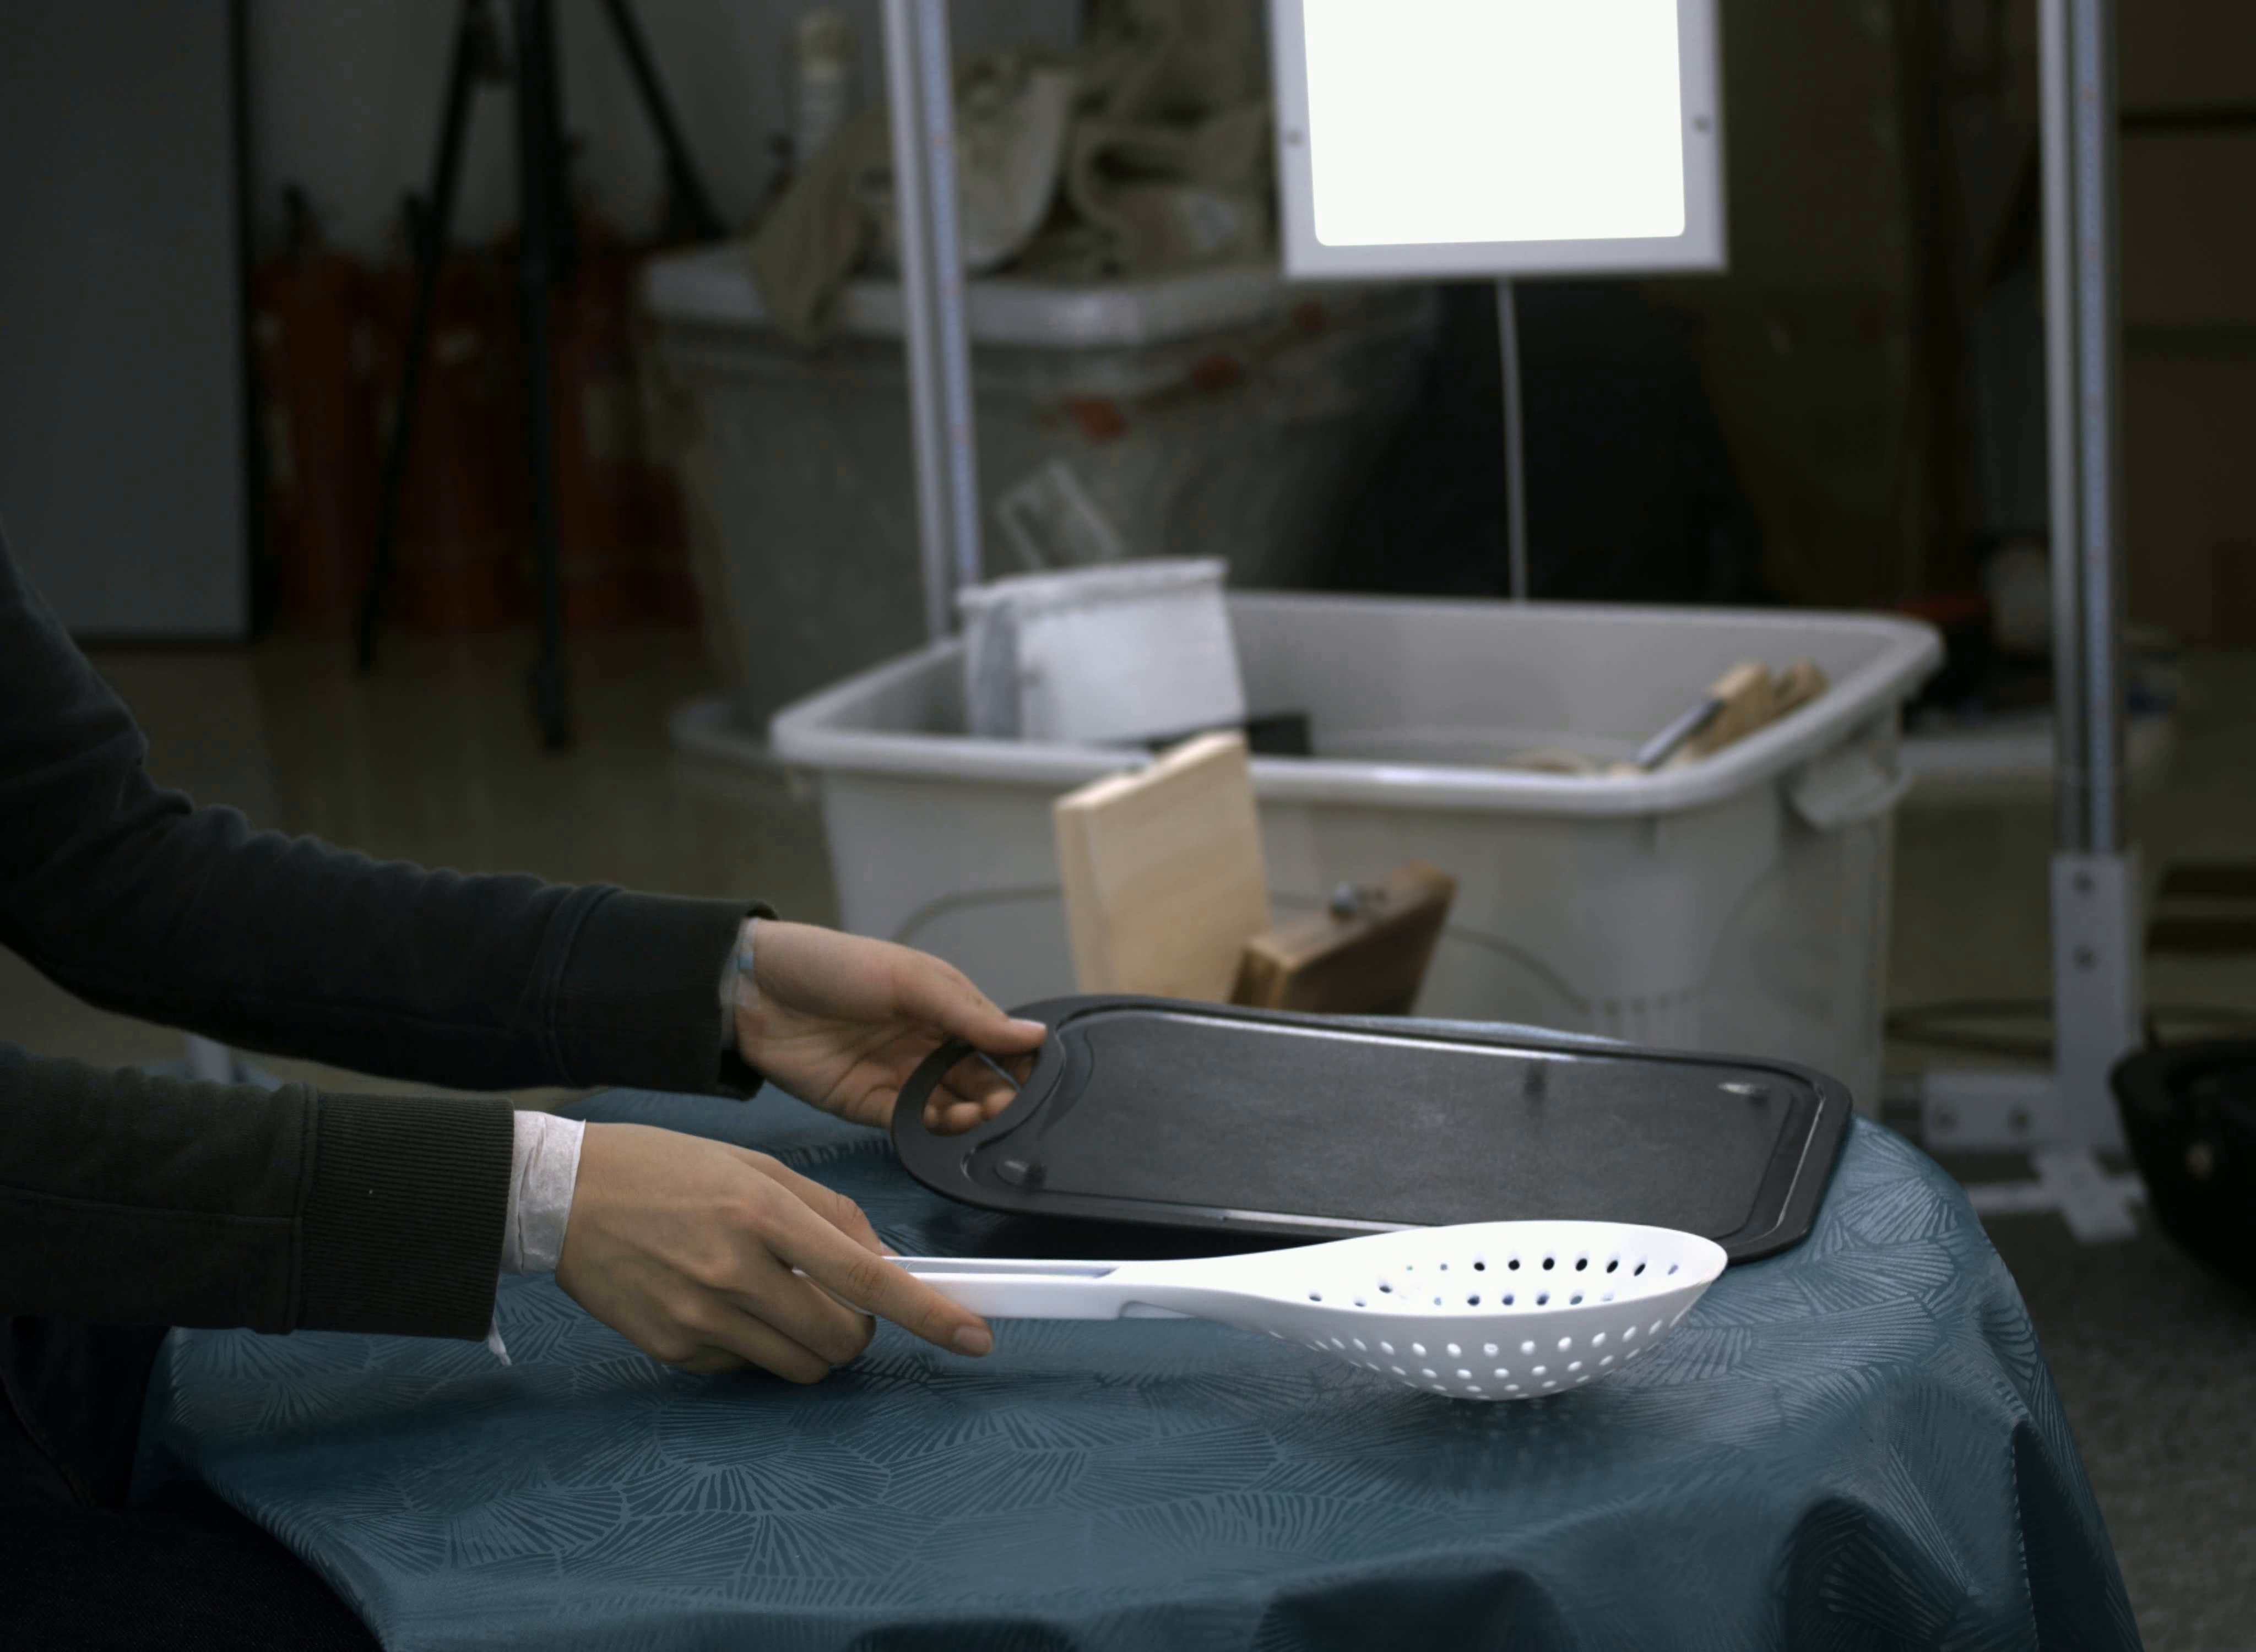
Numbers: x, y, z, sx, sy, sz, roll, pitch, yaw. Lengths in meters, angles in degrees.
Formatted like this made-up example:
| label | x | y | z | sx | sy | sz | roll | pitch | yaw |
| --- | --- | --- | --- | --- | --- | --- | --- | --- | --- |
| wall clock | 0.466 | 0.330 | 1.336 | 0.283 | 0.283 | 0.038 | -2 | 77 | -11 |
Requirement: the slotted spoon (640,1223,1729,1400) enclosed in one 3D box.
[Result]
| label | x | y | z | sx | sy | sz | roll | pitch | yaw |
| --- | --- | --- | --- | --- | --- | --- | --- | --- | --- |
| slotted spoon | 0.012 | 0.142 | 1.701 | 0.354 | 0.046 | 0.133 | 4 | 8 | 20 |

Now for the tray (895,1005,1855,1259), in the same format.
| label | x | y | z | sx | sy | sz | roll | pitch | yaw |
| --- | --- | --- | --- | --- | --- | --- | --- | --- | --- |
| tray | 0.082 | 0.102 | 1.892 | 0.328 | 0.010 | 0.208 | 4 | 17 | 15 |
